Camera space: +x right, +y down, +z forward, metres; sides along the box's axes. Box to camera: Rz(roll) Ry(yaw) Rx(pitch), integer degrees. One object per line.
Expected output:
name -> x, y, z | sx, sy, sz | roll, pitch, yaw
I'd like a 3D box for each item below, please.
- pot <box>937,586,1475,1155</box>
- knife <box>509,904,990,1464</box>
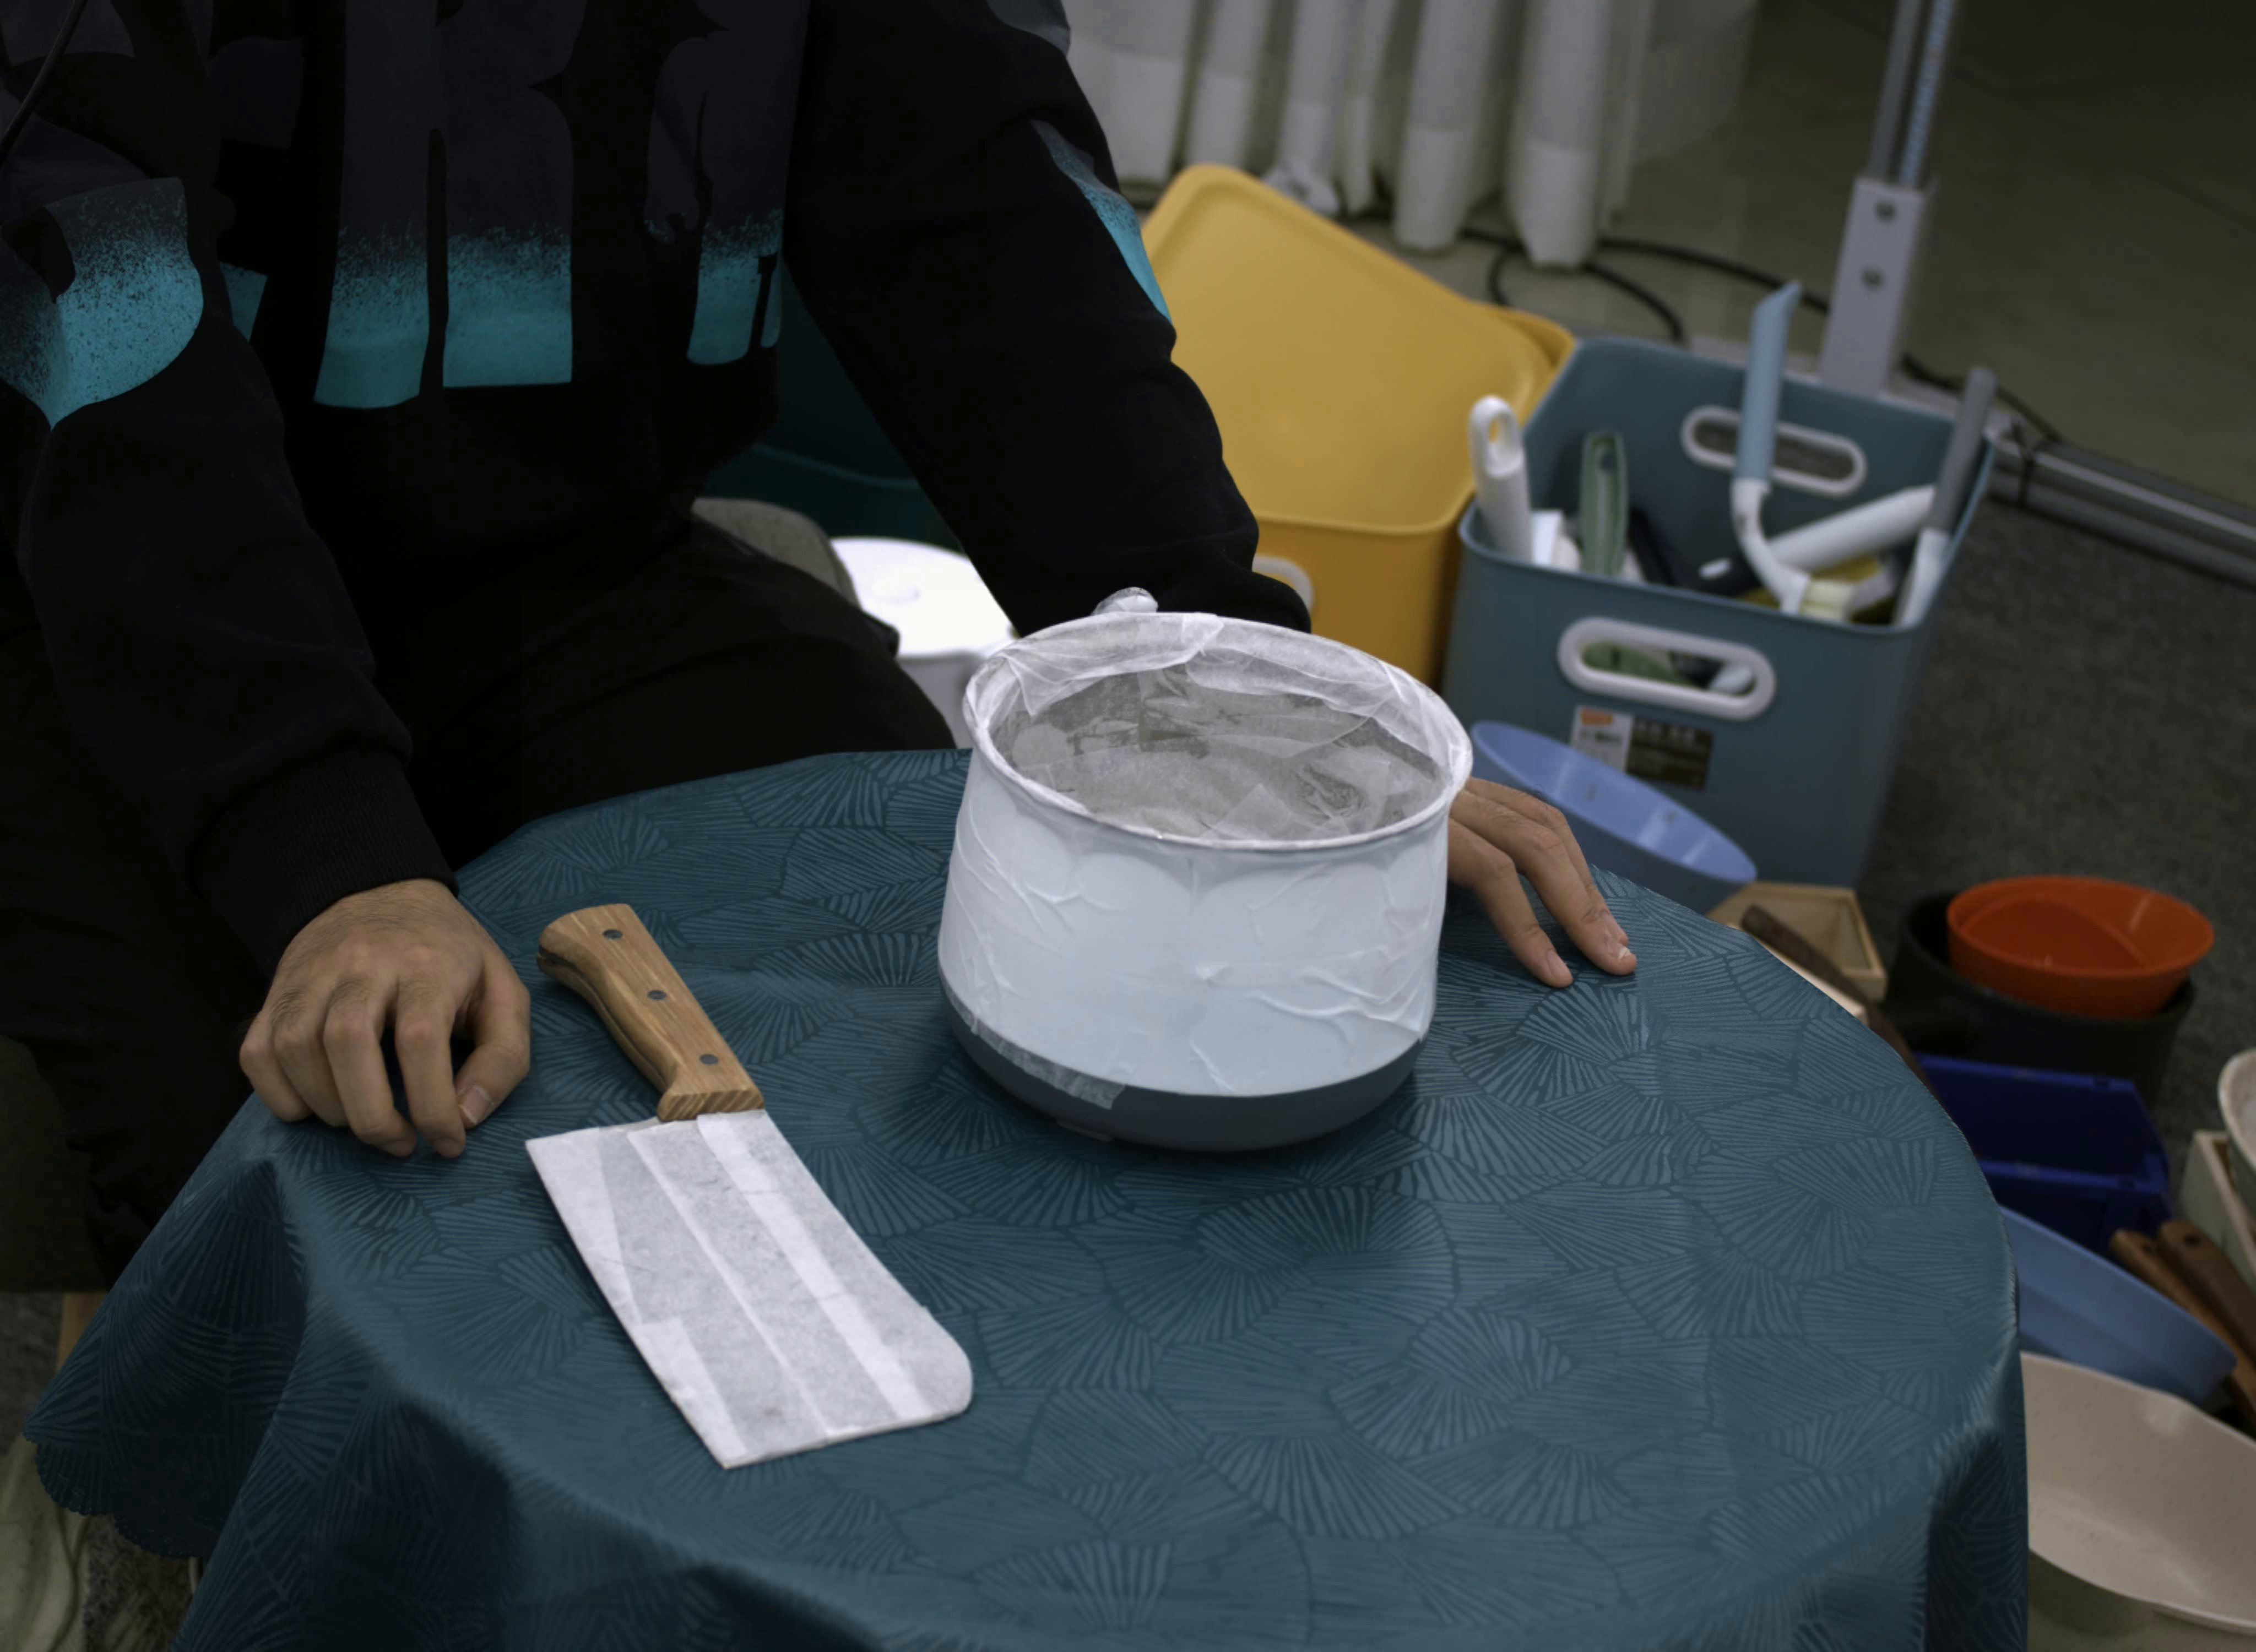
pot -> 0.016, 0.008, 1.881 | 0.177, 0.136, 0.236 | -3, 29, -19
knife -> -0.142, 0.114, 1.770 | 0.113, 0.021, 0.318 | -6, 32, -22
